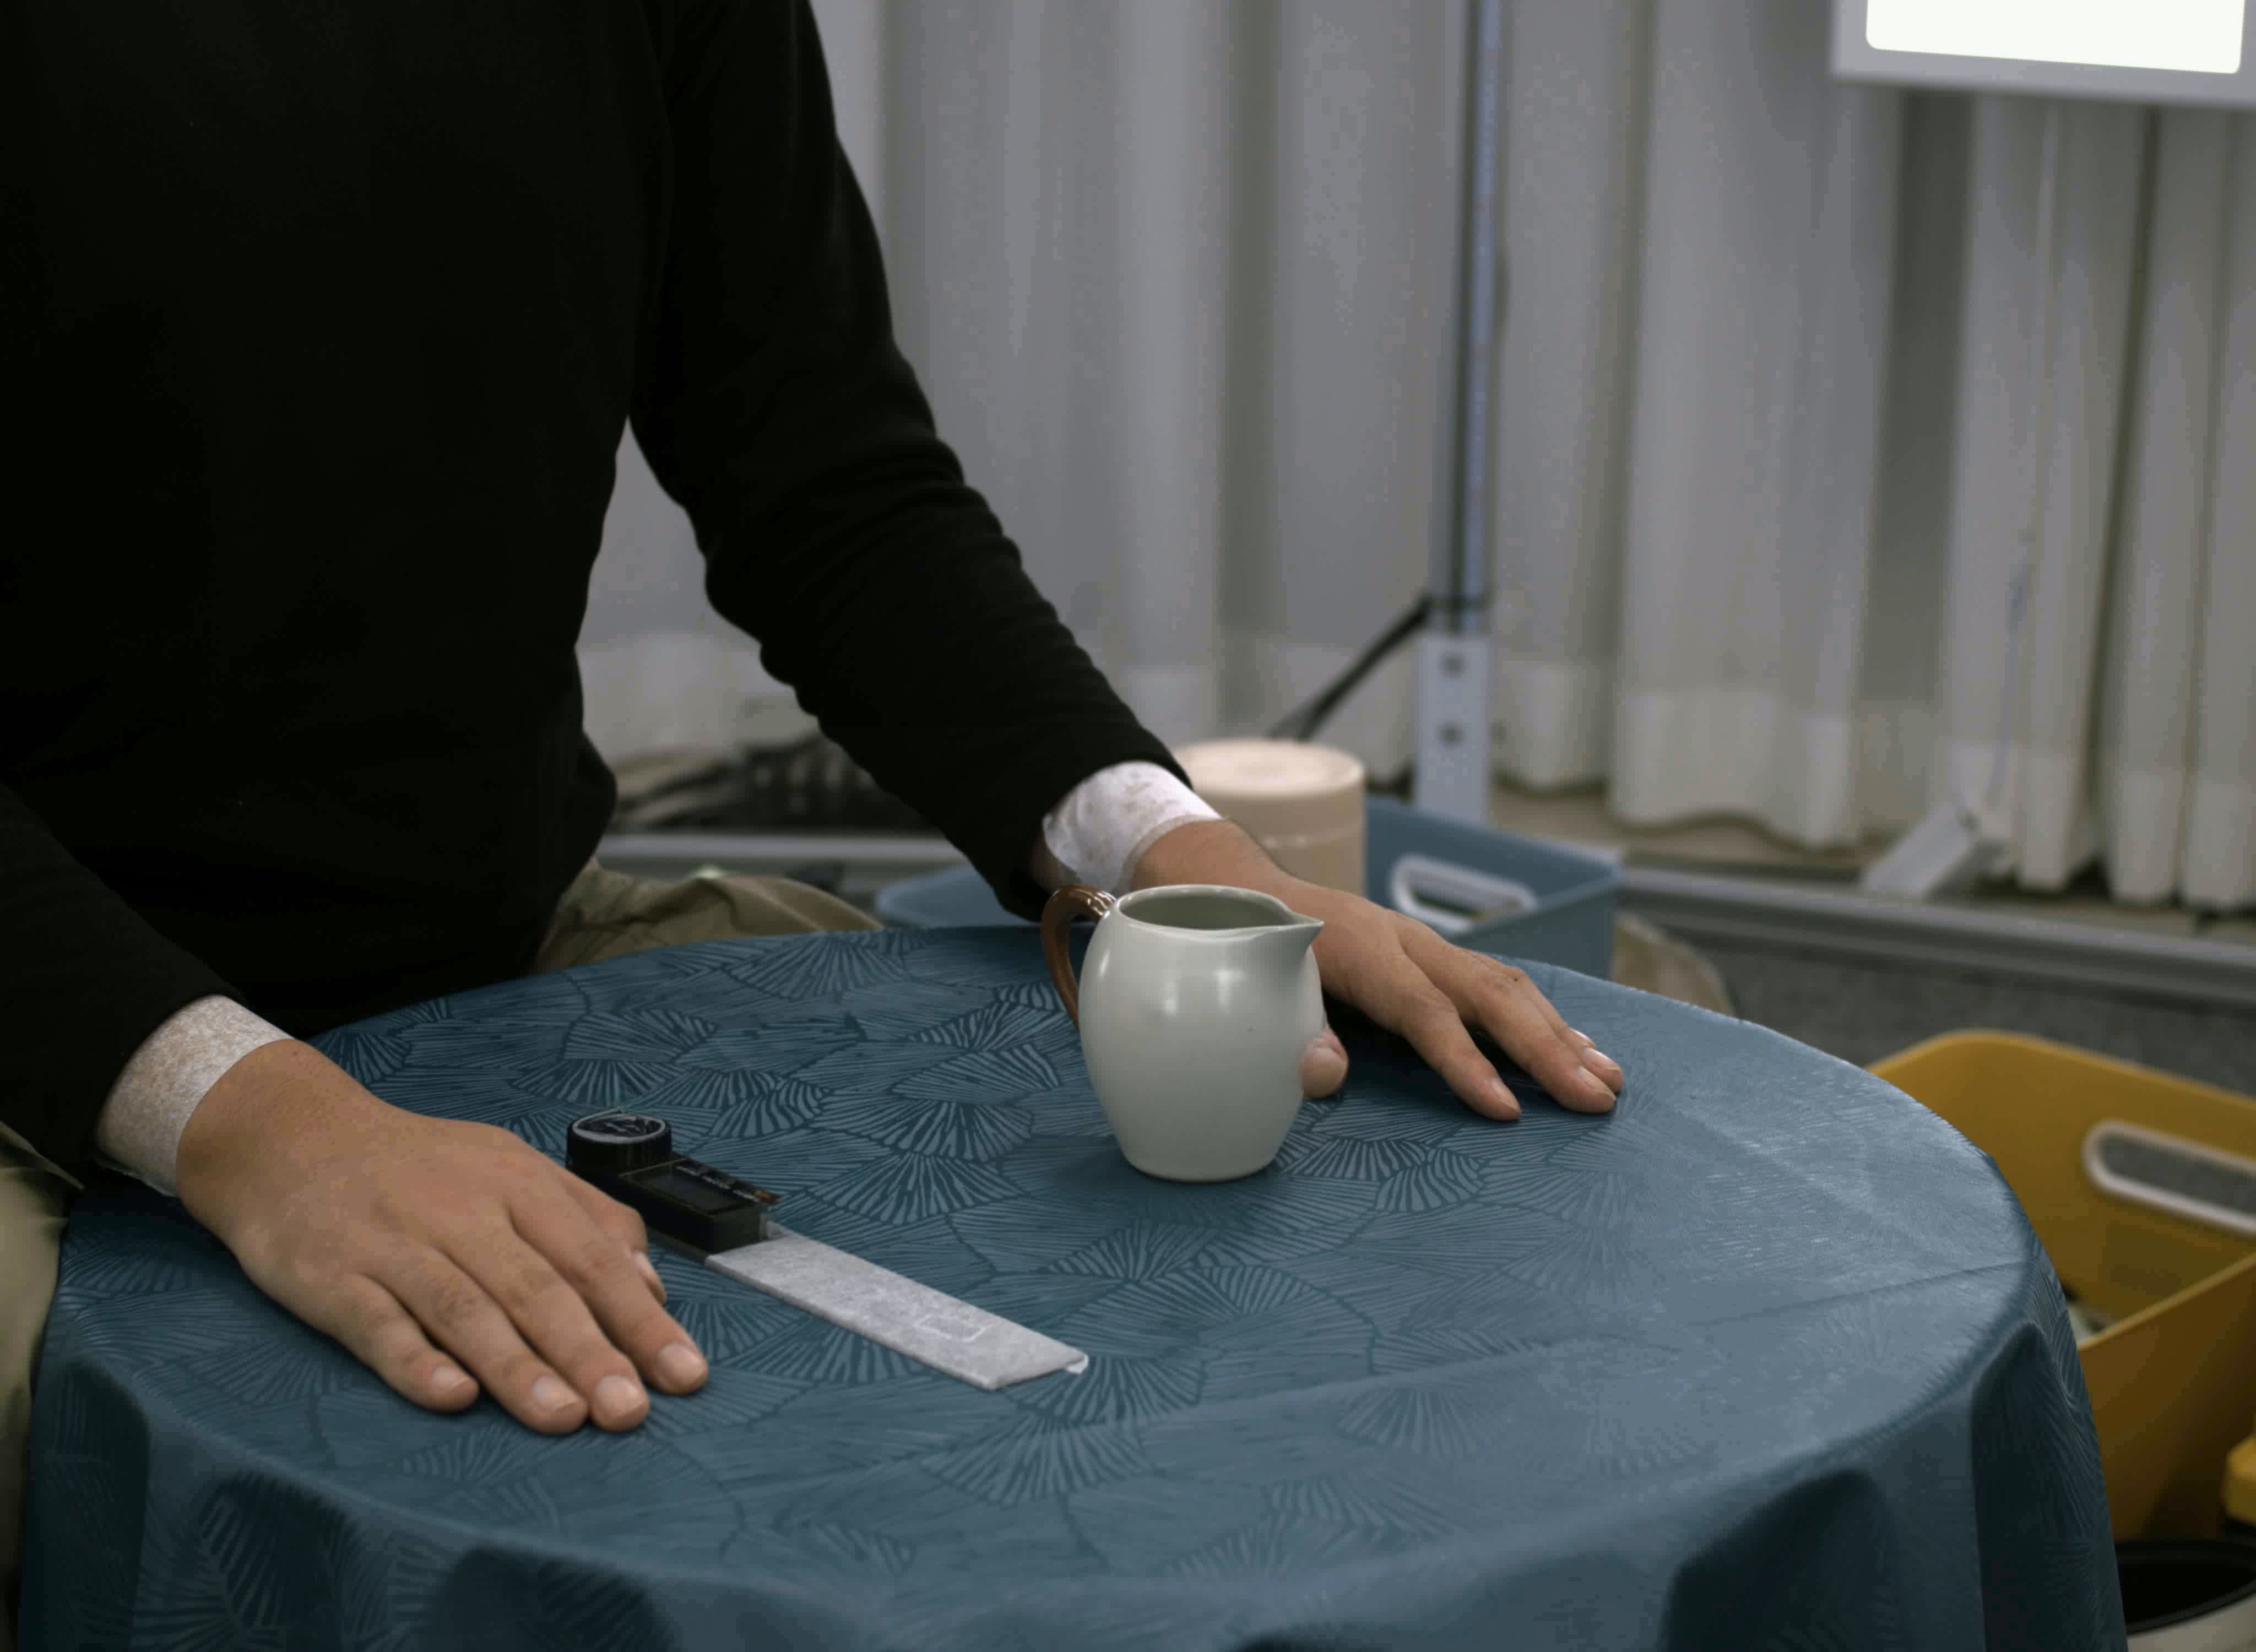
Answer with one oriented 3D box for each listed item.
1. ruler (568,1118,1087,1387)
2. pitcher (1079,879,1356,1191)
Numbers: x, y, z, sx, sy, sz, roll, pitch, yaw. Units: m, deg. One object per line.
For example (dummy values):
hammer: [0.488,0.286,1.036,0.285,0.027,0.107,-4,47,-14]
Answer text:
ruler: [-0.095,0.122,1.541,0.038,0.024,0.215,-20,24,-37]
pitcher: [0.024,0.063,1.636,0.076,0.088,0.117,-9,20,-42]
